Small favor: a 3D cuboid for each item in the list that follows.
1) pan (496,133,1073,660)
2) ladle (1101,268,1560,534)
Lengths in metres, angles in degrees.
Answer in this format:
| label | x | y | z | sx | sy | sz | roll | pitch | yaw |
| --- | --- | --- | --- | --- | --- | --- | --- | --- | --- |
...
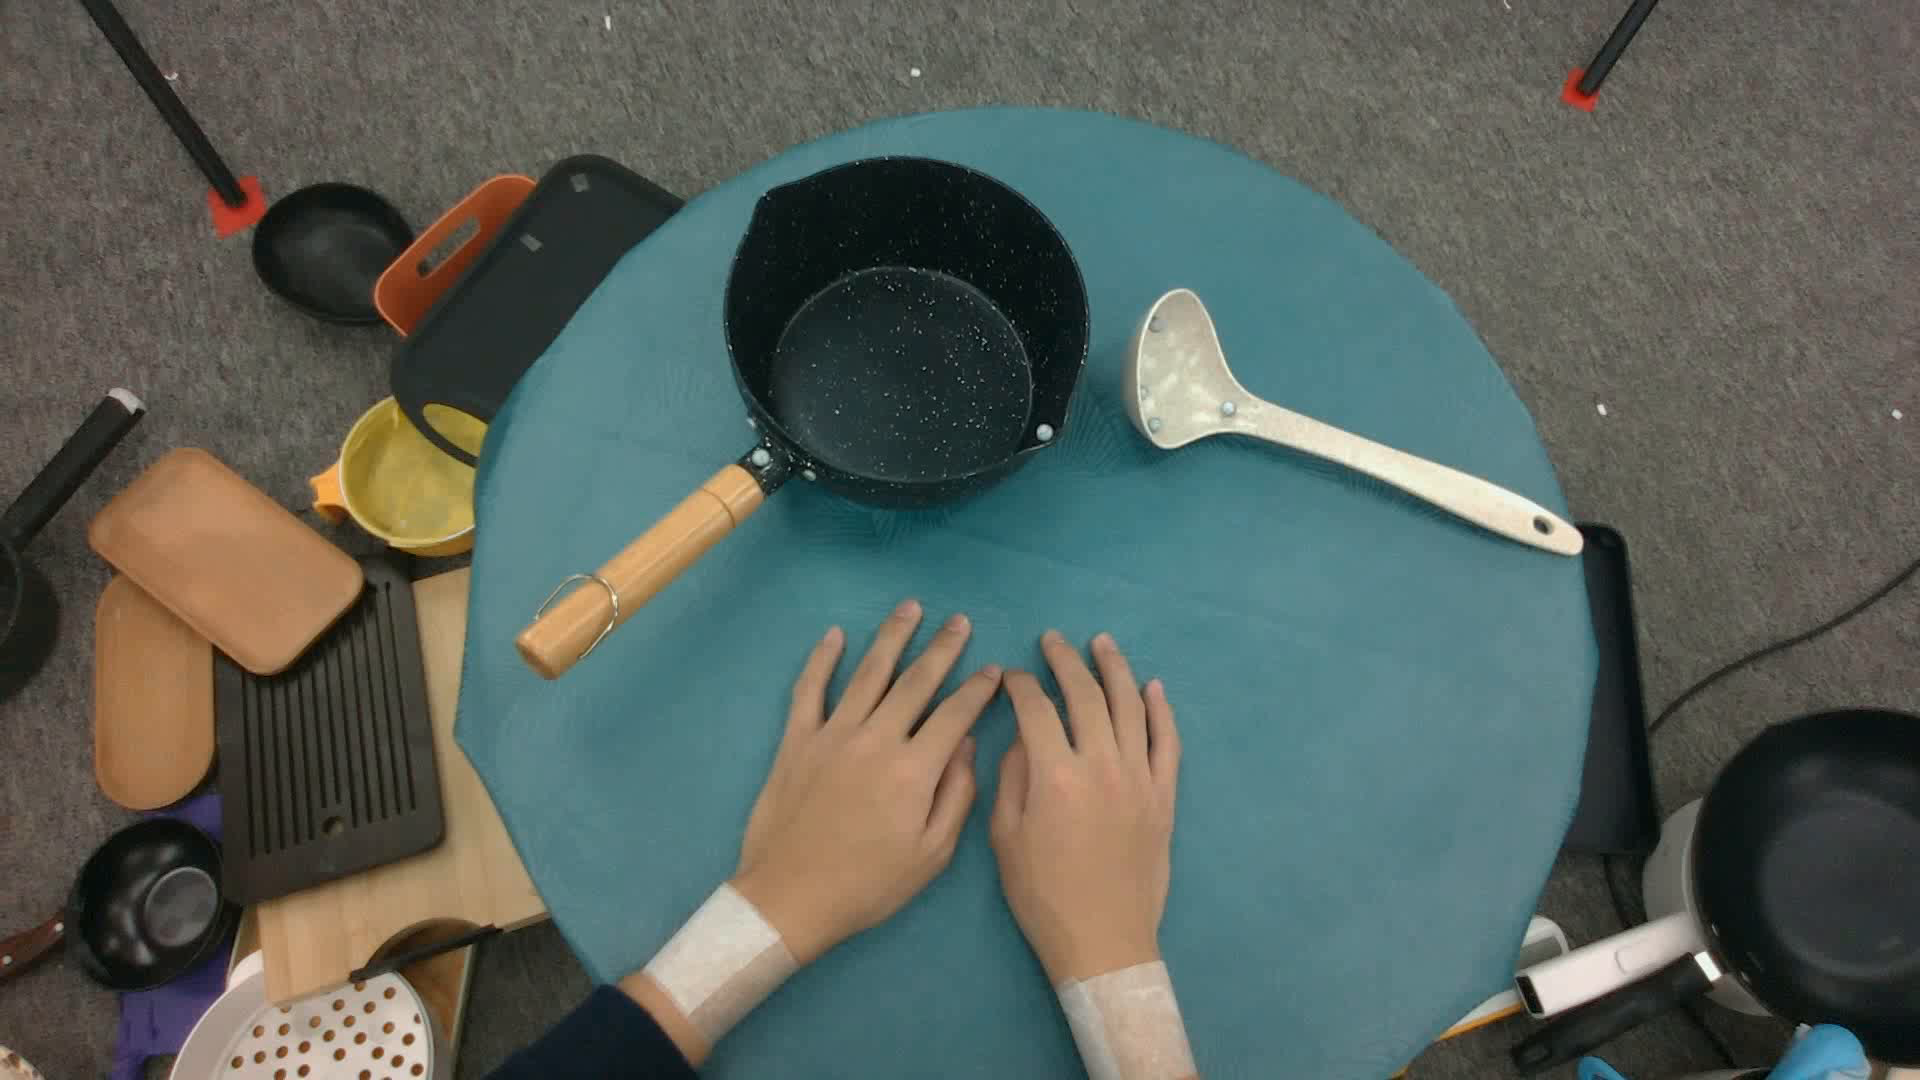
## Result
| label | x | y | z | sx | sy | sz | roll | pitch | yaw |
| --- | --- | --- | --- | --- | --- | --- | --- | --- | --- |
| pan | -0.087 | -0.057 | 0.689 | 0.207 | 0.108 | 0.344 | 39 | 70 | 7 |
| ladle | 0.208 | -0.067 | 0.742 | 0.275 | 0.069 | 0.089 | 20 | 65 | 2 |
